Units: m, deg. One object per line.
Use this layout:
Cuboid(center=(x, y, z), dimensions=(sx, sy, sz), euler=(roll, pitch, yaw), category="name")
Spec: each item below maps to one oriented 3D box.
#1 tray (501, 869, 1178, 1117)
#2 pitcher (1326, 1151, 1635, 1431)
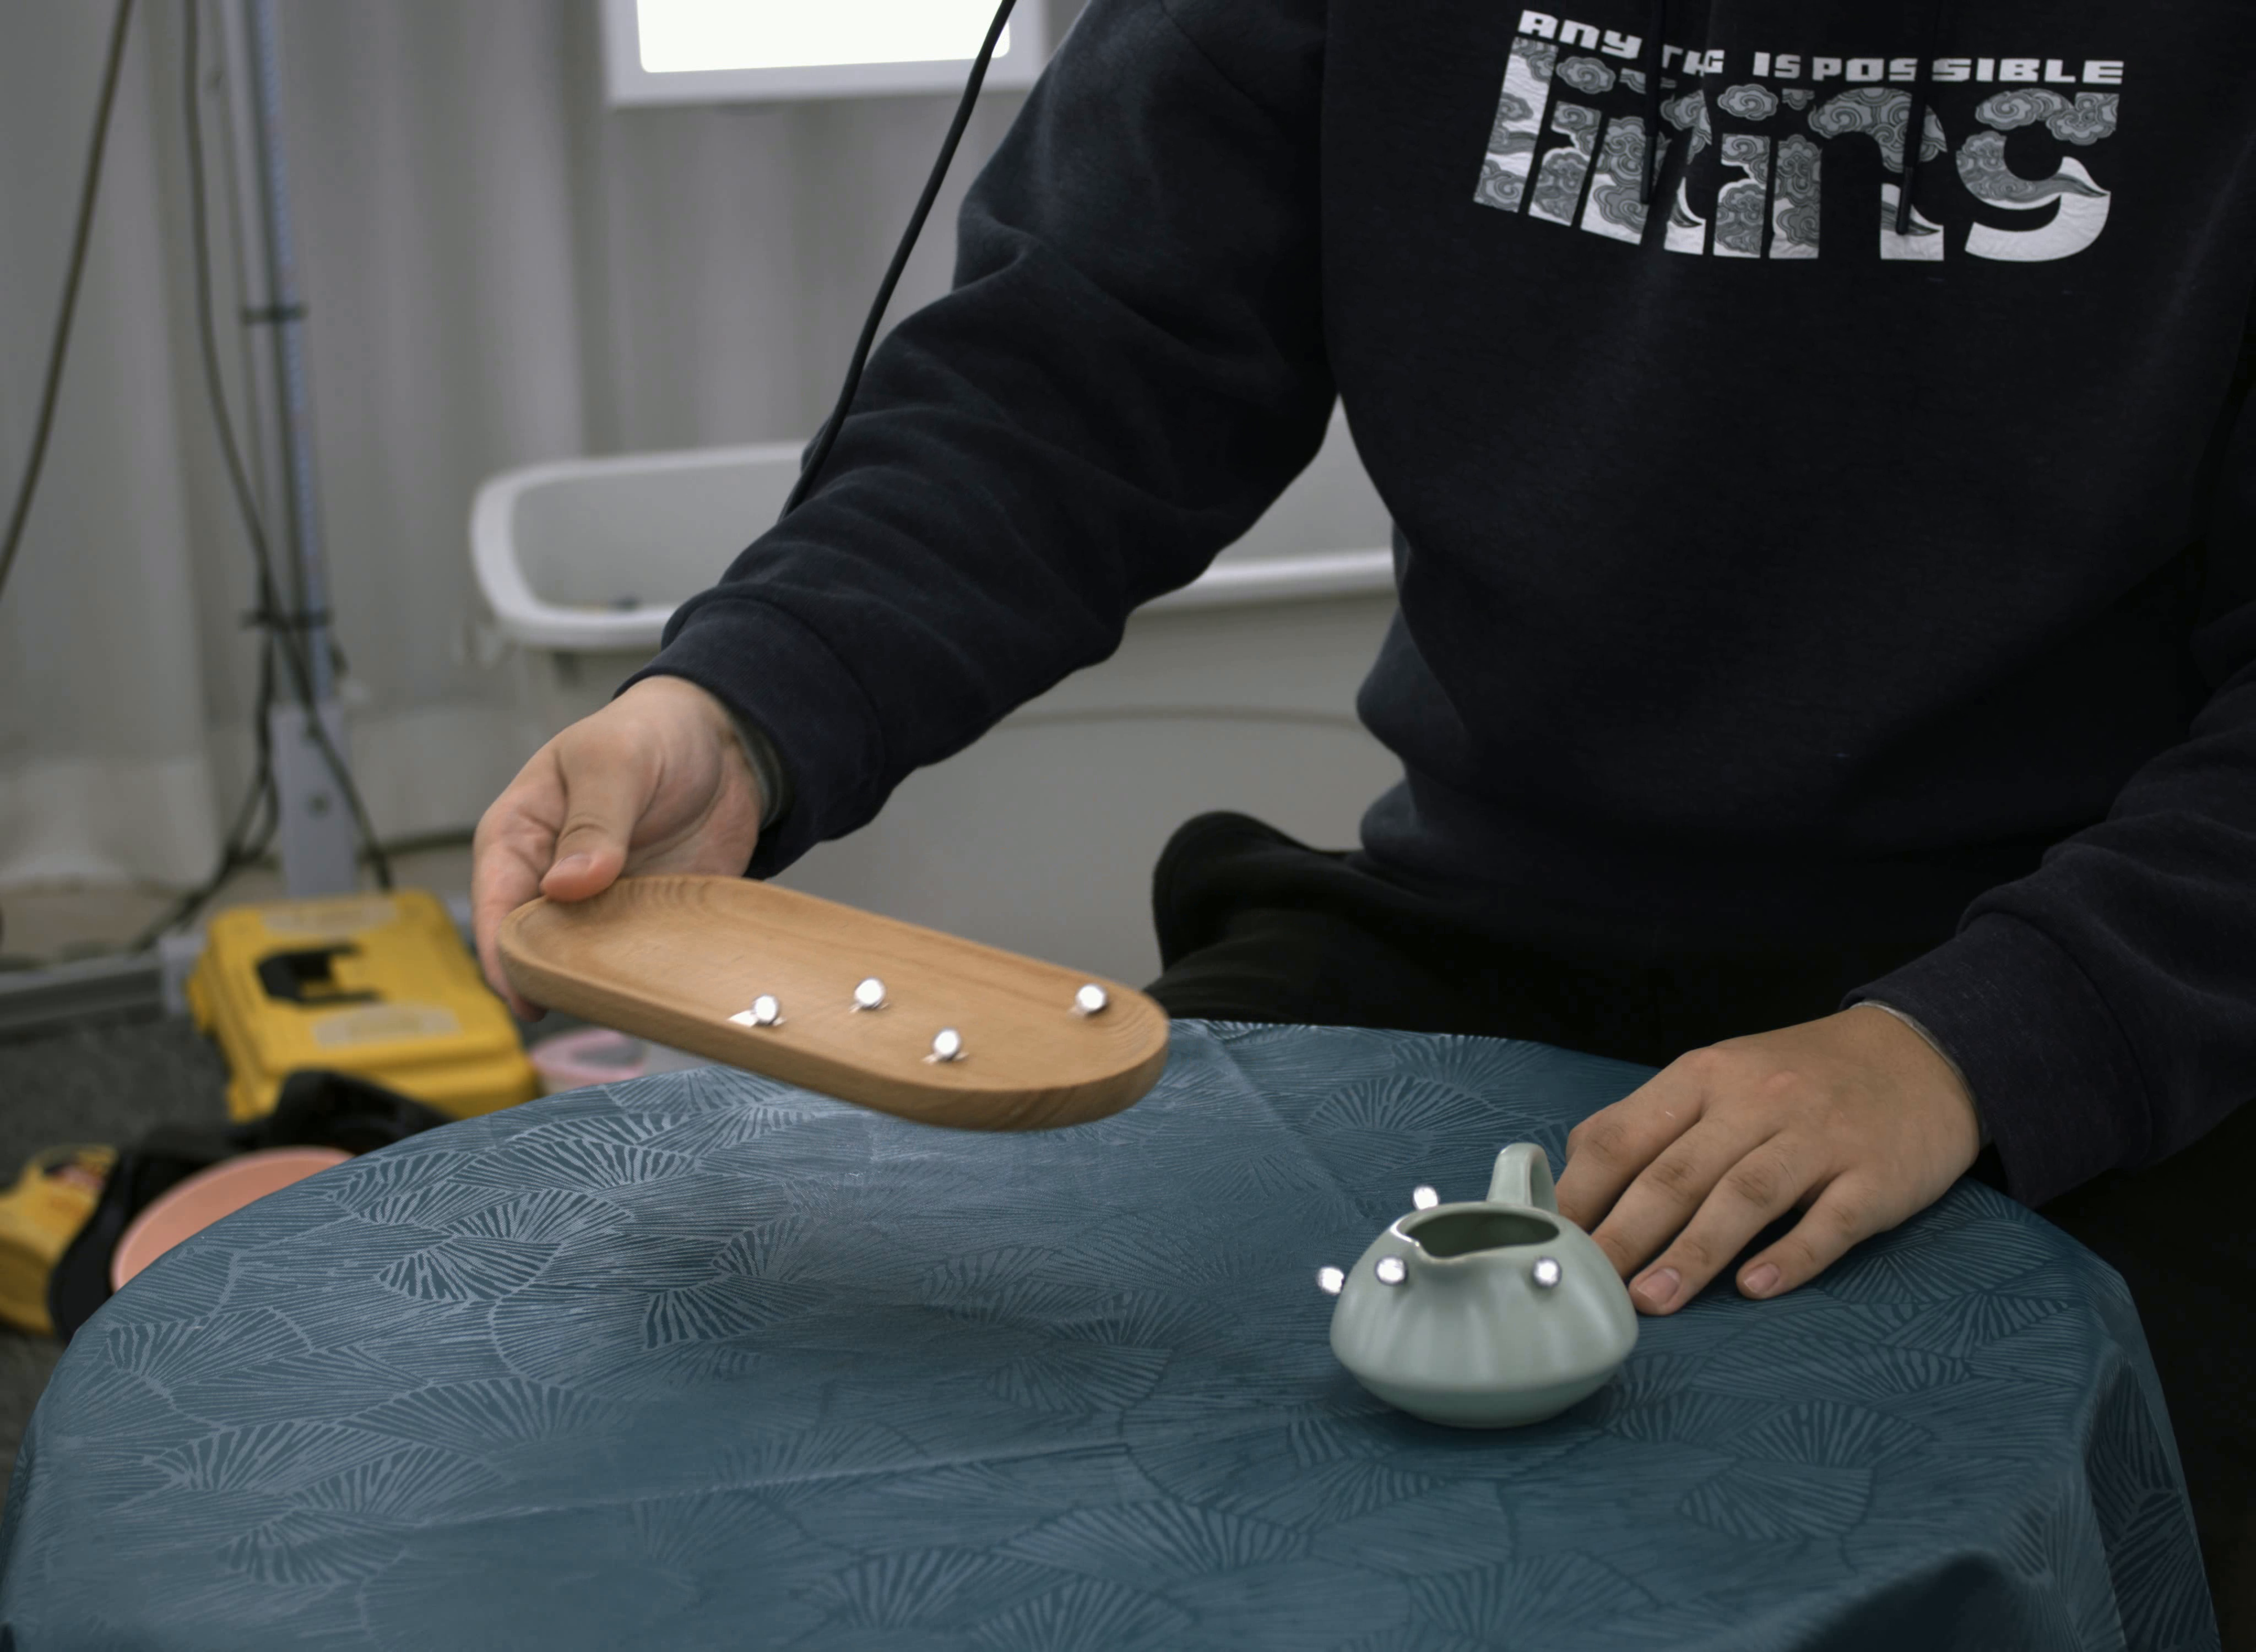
Cuboid(center=(-0.087, 0.048, 1.613), dimensions=(0.232, 0.020, 0.101), euler=(12, 21, 37), category="tray")
Cuboid(center=(0.101, 0.131, 1.533), dimensions=(0.086, 0.060, 0.108), euler=(3, 13, 16), category="pitcher")
